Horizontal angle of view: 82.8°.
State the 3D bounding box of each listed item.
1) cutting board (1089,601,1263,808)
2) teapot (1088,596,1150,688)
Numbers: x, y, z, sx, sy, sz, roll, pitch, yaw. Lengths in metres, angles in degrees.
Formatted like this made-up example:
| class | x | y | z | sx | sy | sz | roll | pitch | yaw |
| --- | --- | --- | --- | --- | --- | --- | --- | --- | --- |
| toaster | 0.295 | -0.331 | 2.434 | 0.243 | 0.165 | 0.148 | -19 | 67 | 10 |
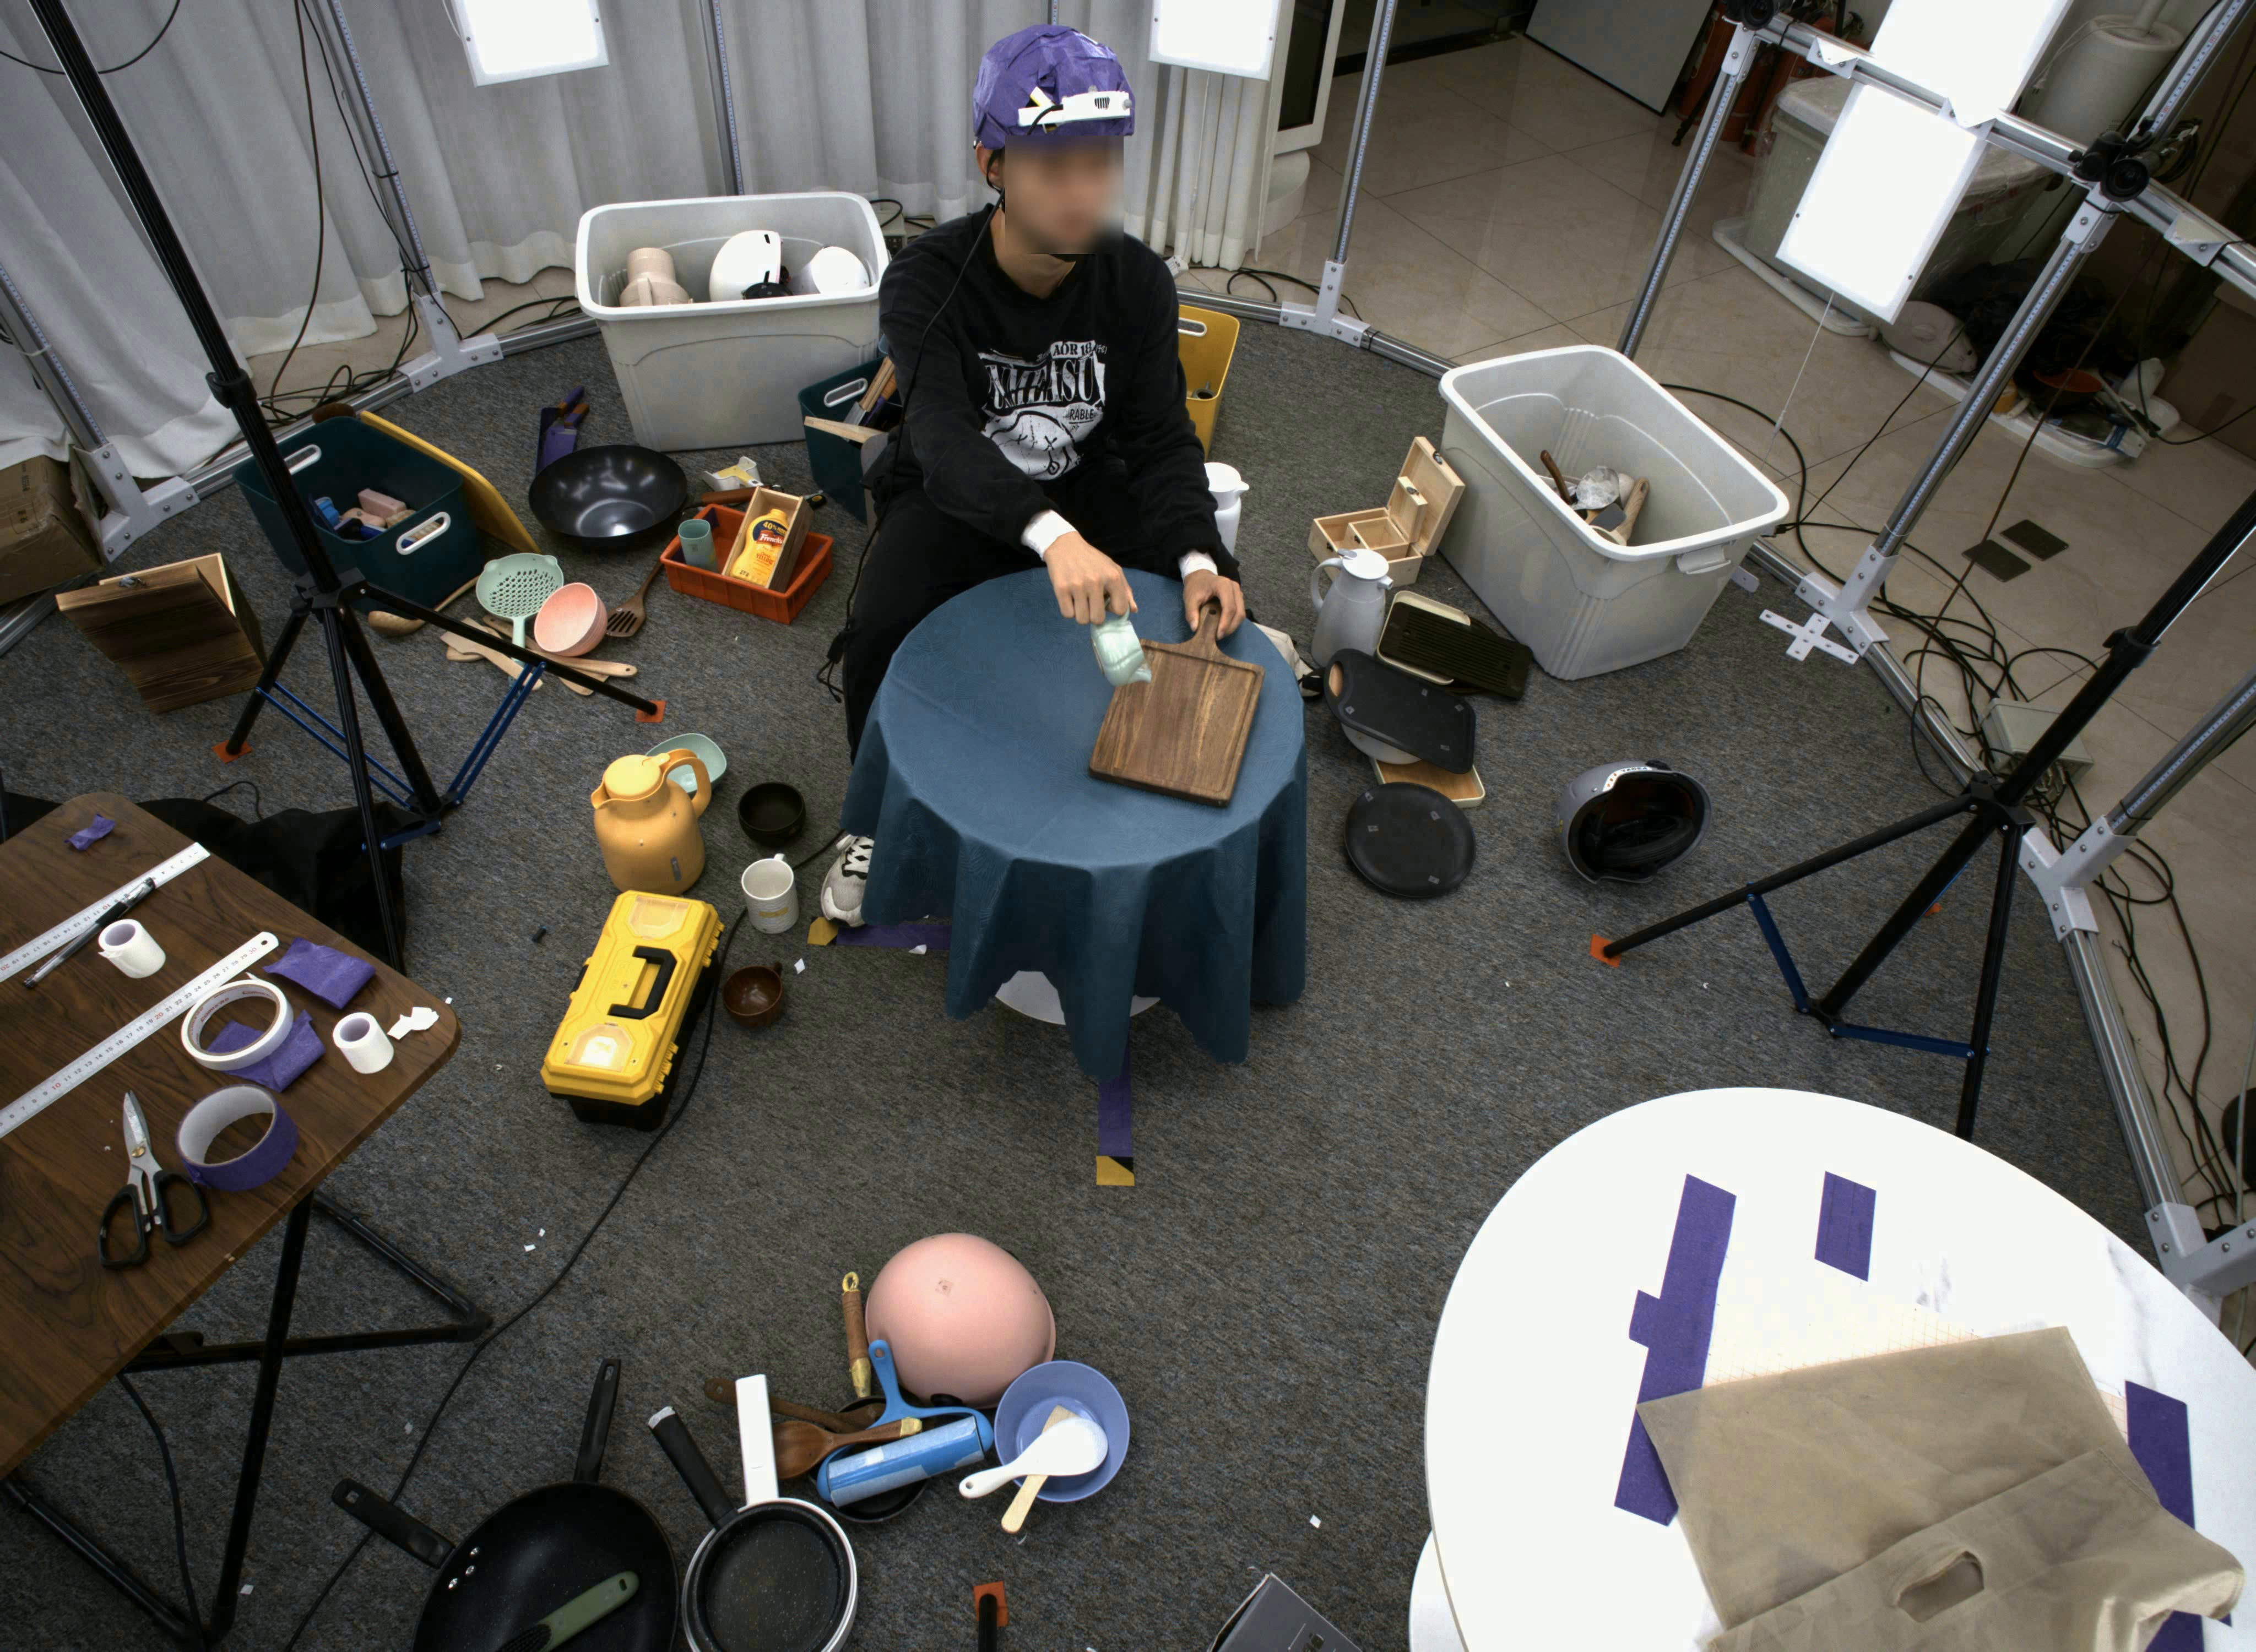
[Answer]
| class | x | y | z | sx | sy | sz | roll | pitch | yaw |
| --- | --- | --- | --- | --- | --- | --- | --- | --- | --- |
| cutting board | 0.082 | -0.187 | 1.803 | 0.201 | 0.022 | 0.360 | 13 | 54 | 7 |
| teapot | -0.016 | -0.235 | 1.673 | 0.061 | 0.134 | 0.098 | -20 | 33 | -2 |
